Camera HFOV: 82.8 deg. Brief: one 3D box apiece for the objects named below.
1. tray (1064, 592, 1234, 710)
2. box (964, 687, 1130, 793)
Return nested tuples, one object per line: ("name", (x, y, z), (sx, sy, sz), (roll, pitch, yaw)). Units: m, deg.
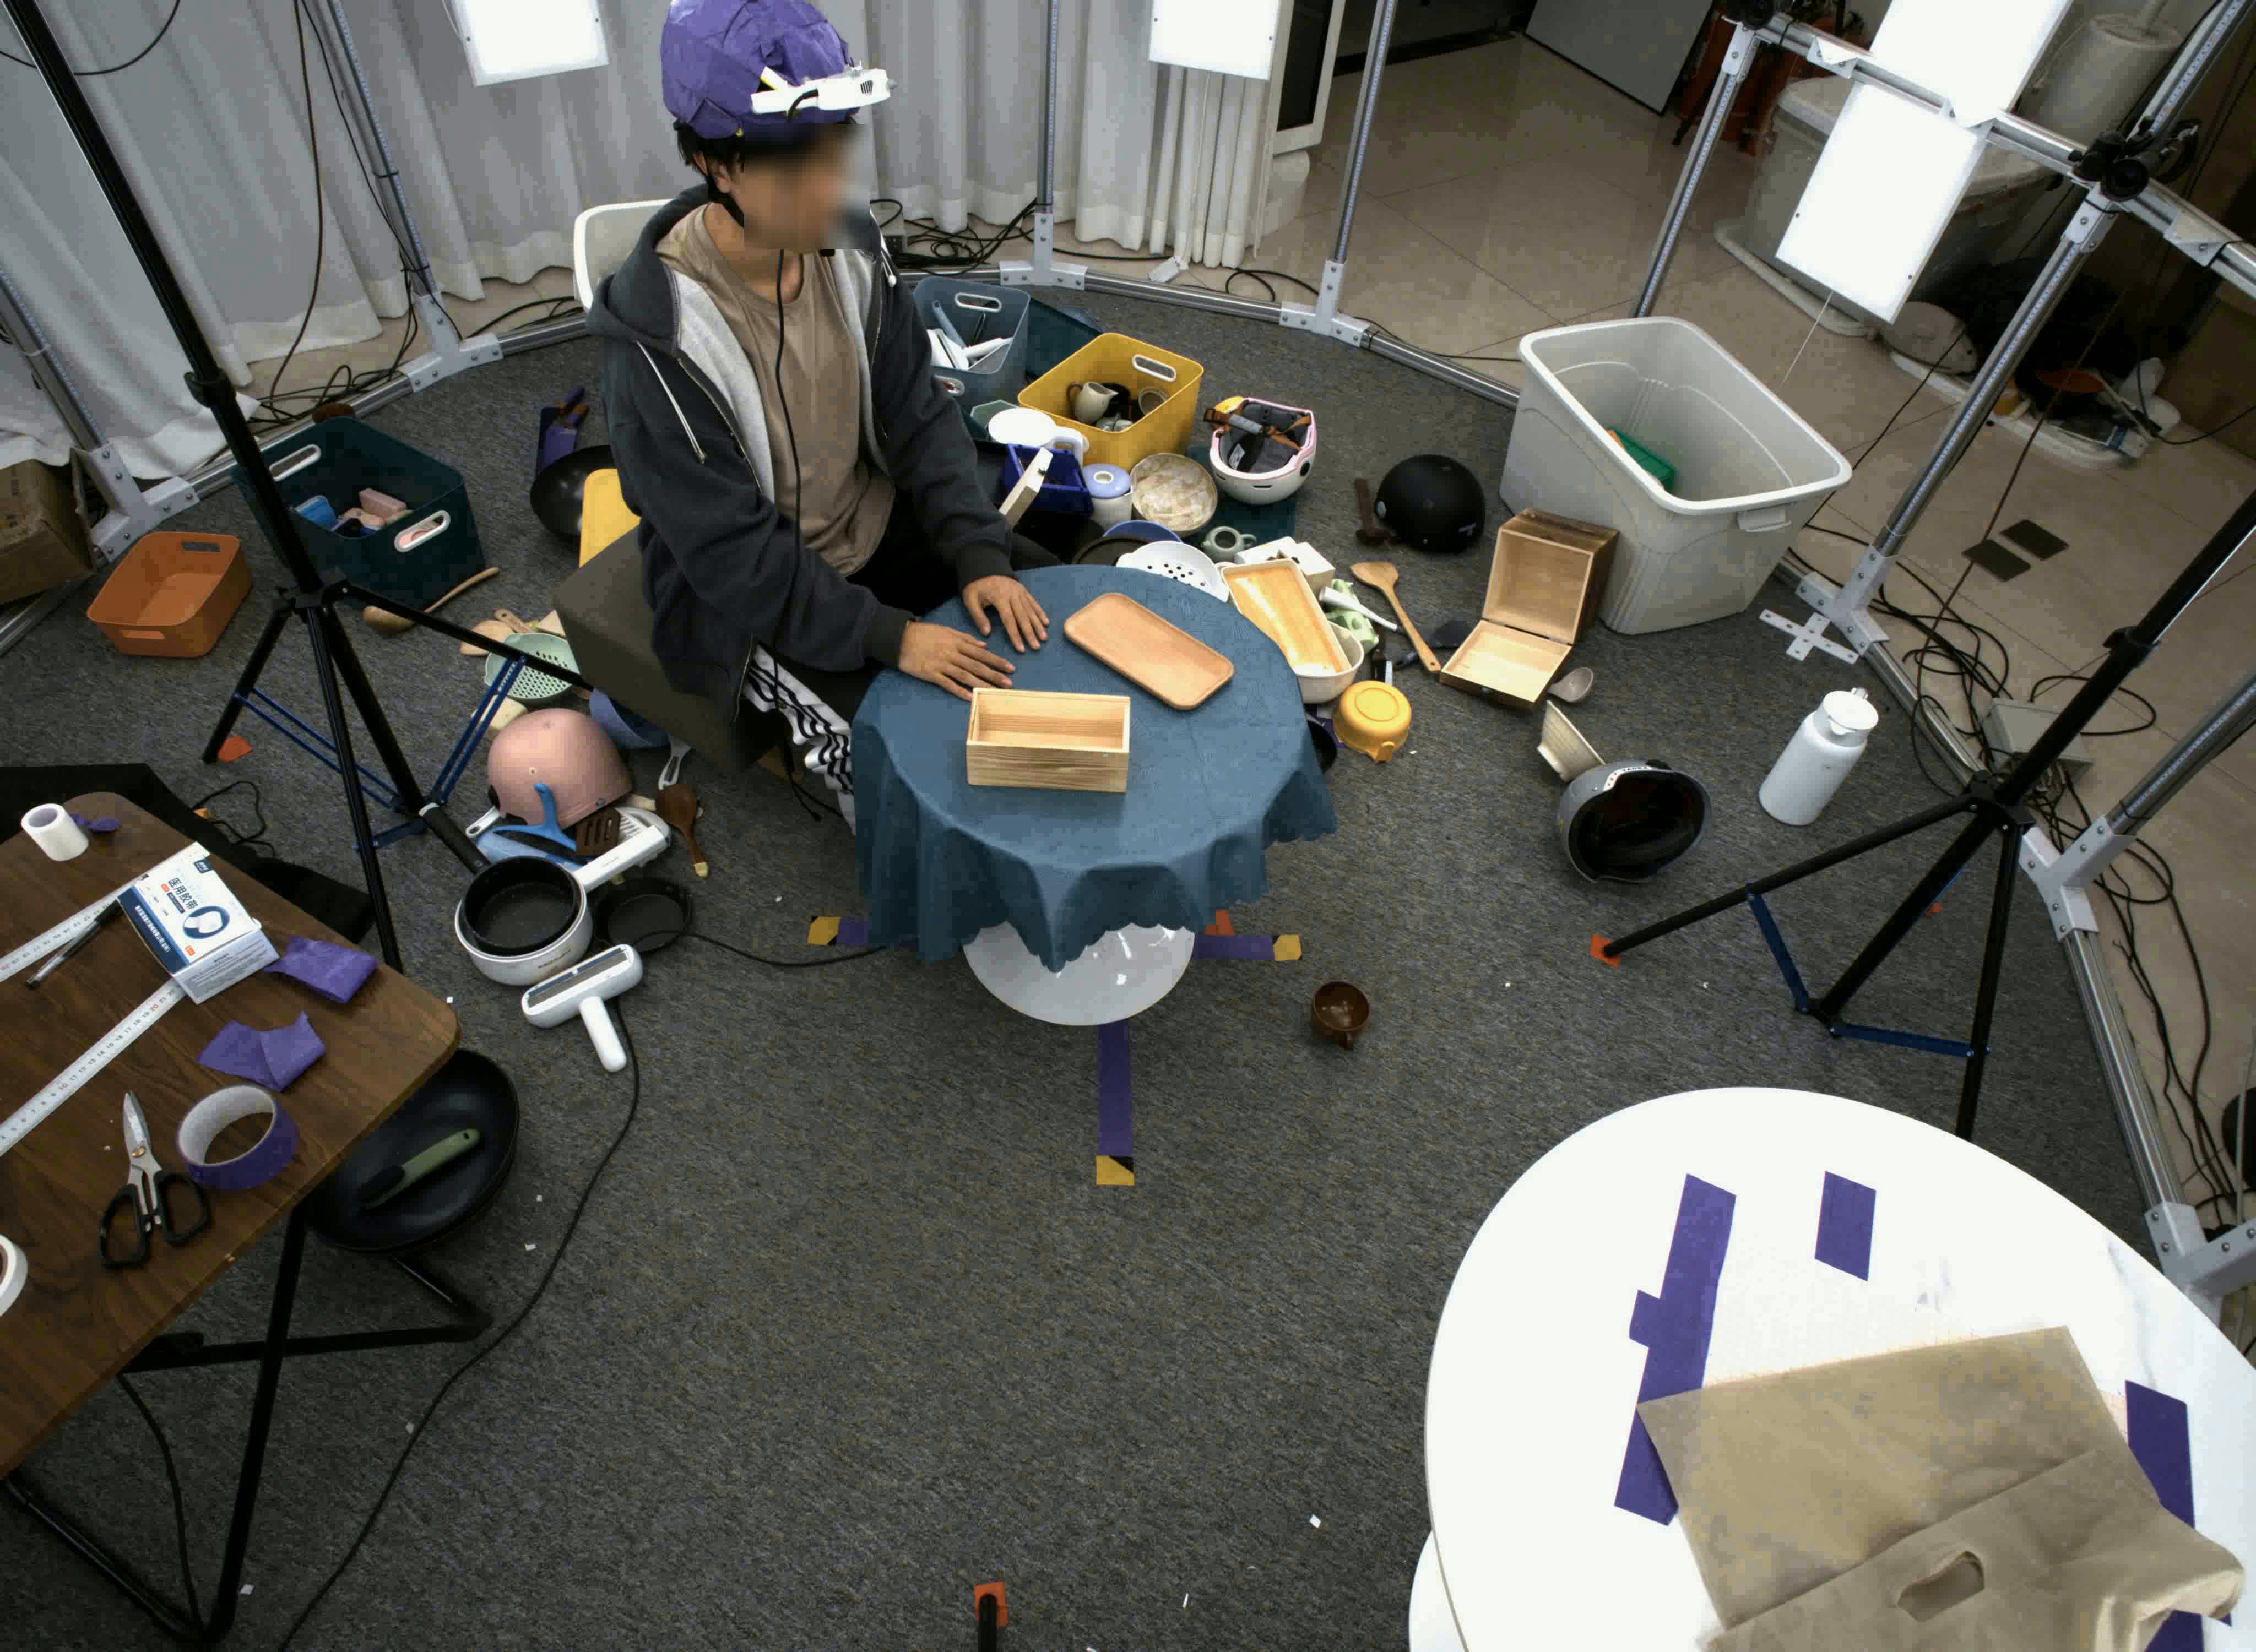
("tray", (0.029, -0.258, 1.881), (0.254, 0.022, 0.132), (35, 53, 25))
("box", (-0.105, -0.115, 1.707), (0.211, 0.078, 0.110), (3, 49, -1))
